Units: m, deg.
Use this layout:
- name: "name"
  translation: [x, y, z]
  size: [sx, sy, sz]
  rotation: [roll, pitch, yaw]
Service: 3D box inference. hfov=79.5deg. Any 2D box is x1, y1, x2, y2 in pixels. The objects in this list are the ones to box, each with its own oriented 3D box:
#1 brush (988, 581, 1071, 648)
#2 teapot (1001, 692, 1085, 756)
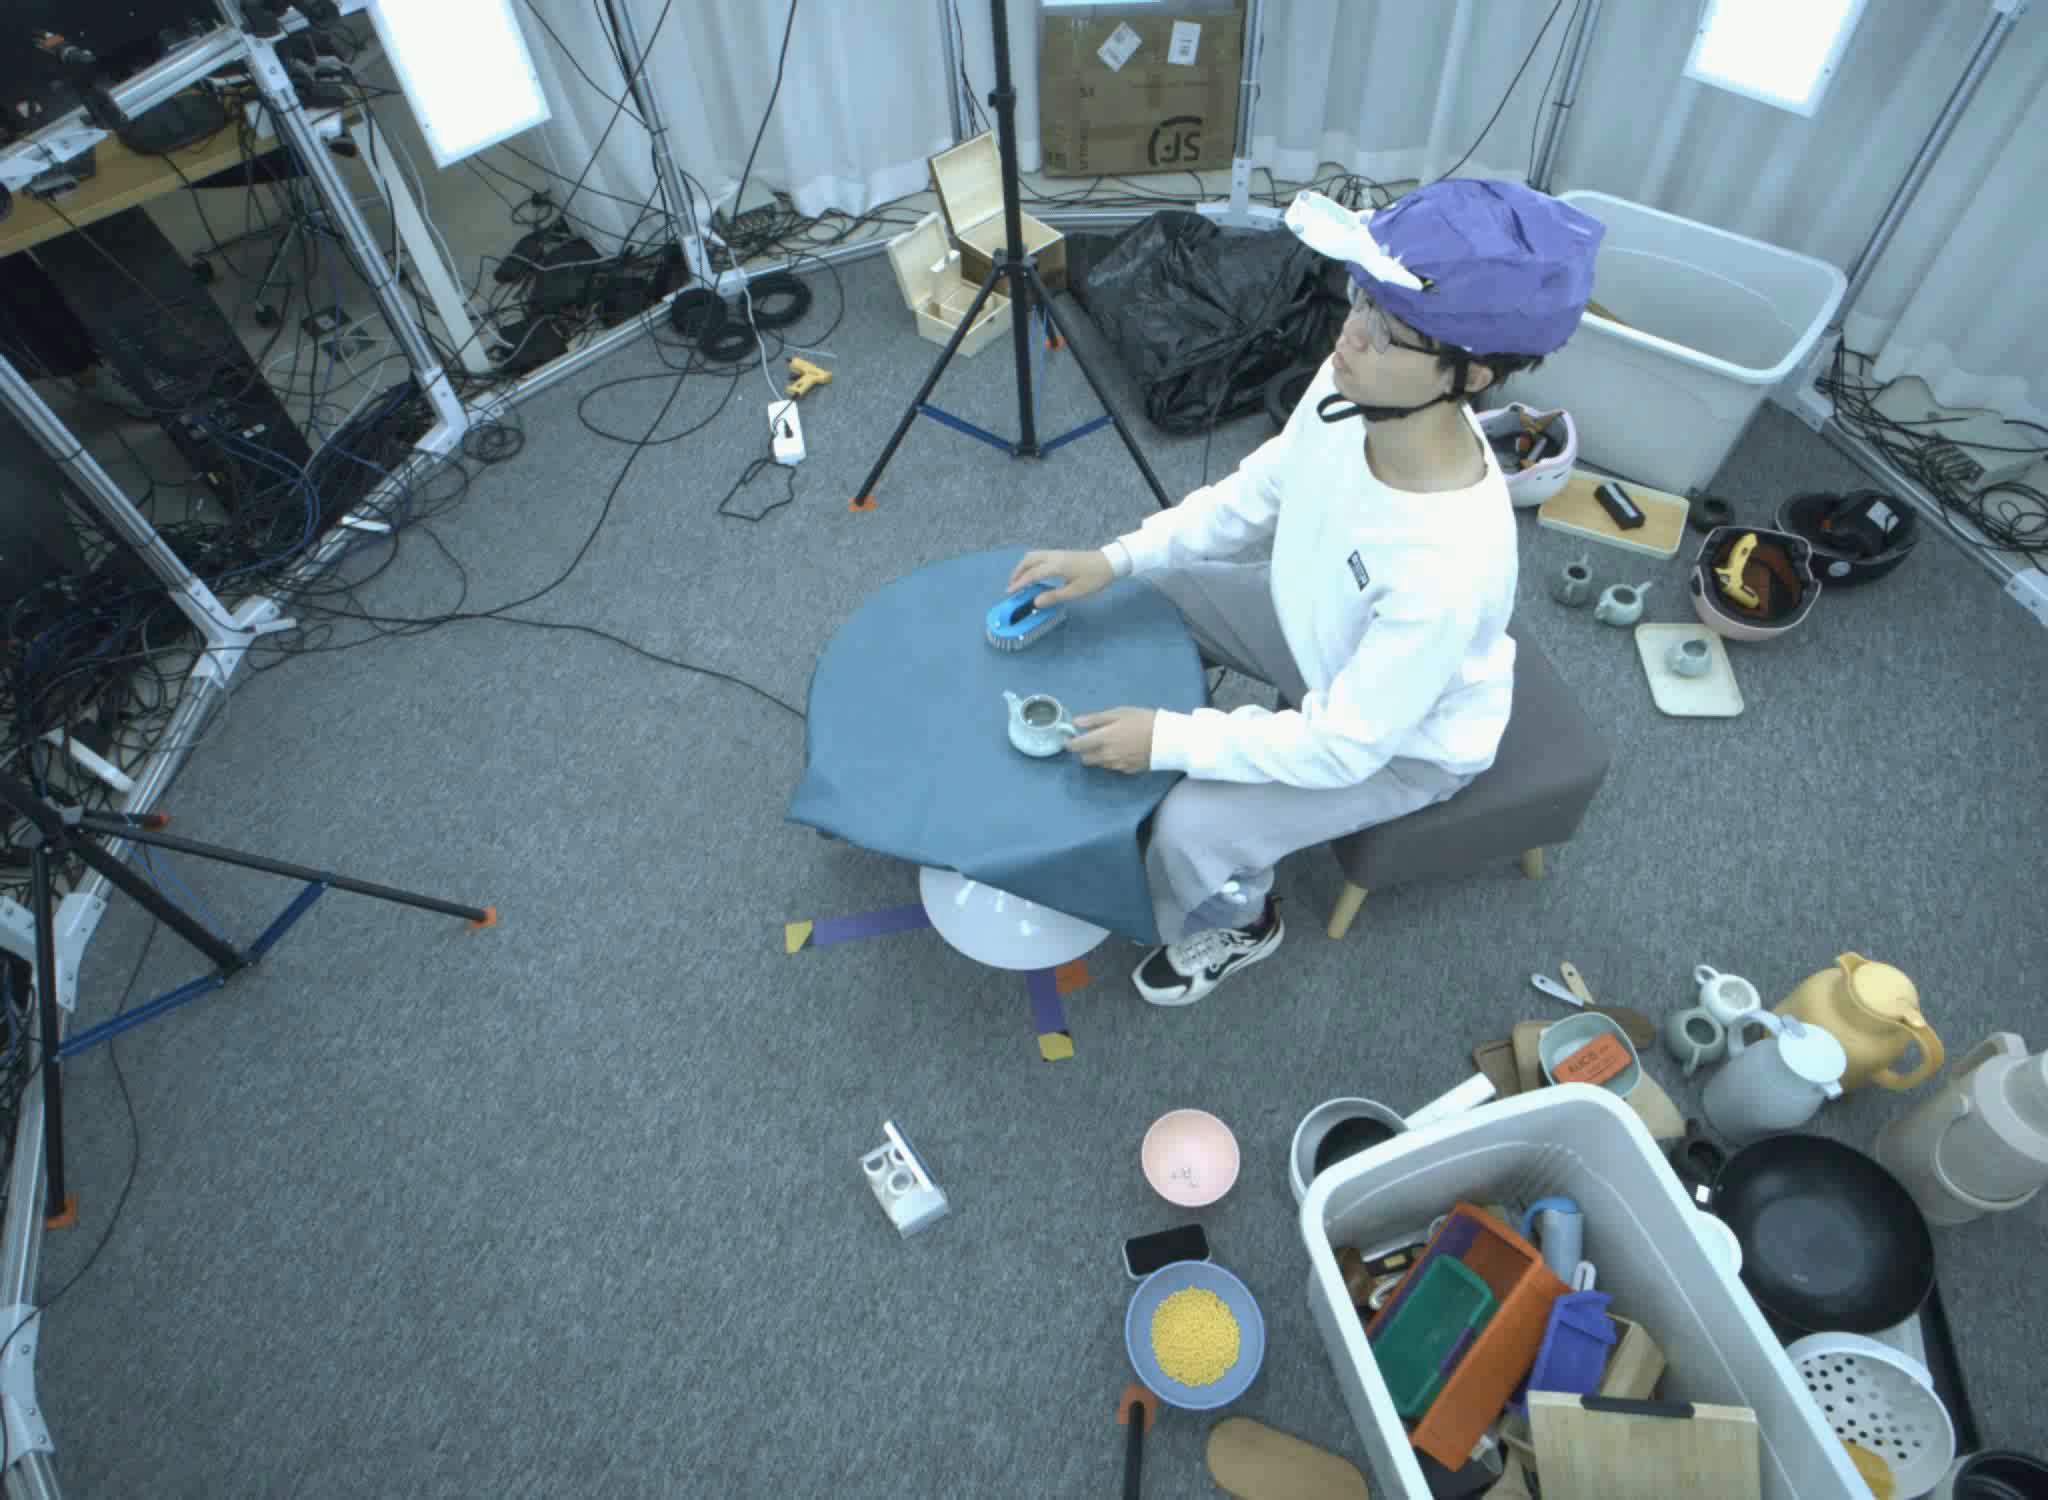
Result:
- name: "brush"
  translation: [0.004, -0.222, 1.903]
  size: [0.143, 0.064, 0.082]
  rotation: [-33, 55, -21]
- name: "teapot"
  translation: [0.027, -0.038, 1.775]
  size: [0.135, 0.062, 0.096]
  rotation: [27, 57, 19]
